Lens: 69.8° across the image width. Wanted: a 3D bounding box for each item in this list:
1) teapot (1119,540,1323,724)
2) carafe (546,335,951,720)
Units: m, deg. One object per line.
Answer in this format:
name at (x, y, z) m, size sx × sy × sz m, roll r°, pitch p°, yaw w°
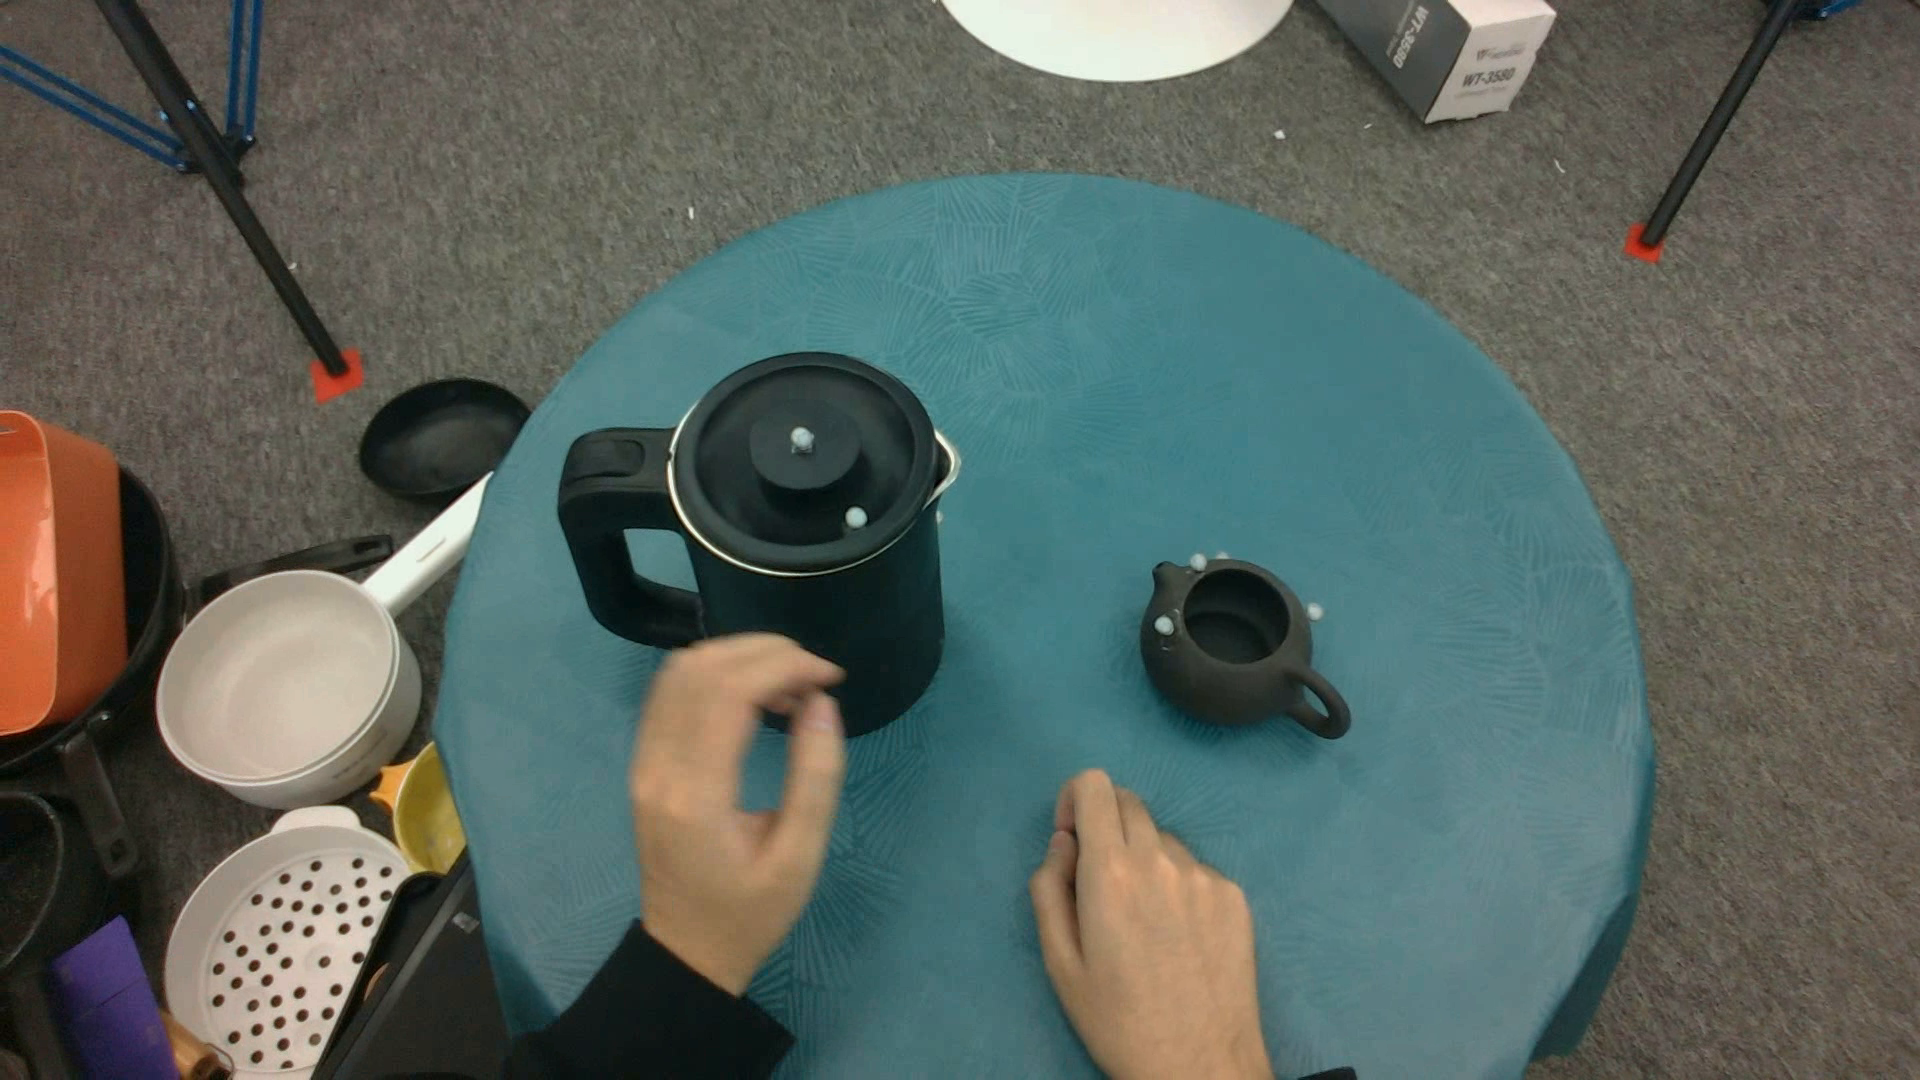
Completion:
teapot at (0.127, 0.046, 0.660) m, size 0.083 × 0.053 × 0.114 m, roll -39°, pitch 64°, yaw -20°
carafe at (-0.093, -0.003, 0.616) m, size 0.171 × 0.172 × 0.115 m, roll 1°, pitch 61°, yaw -3°
